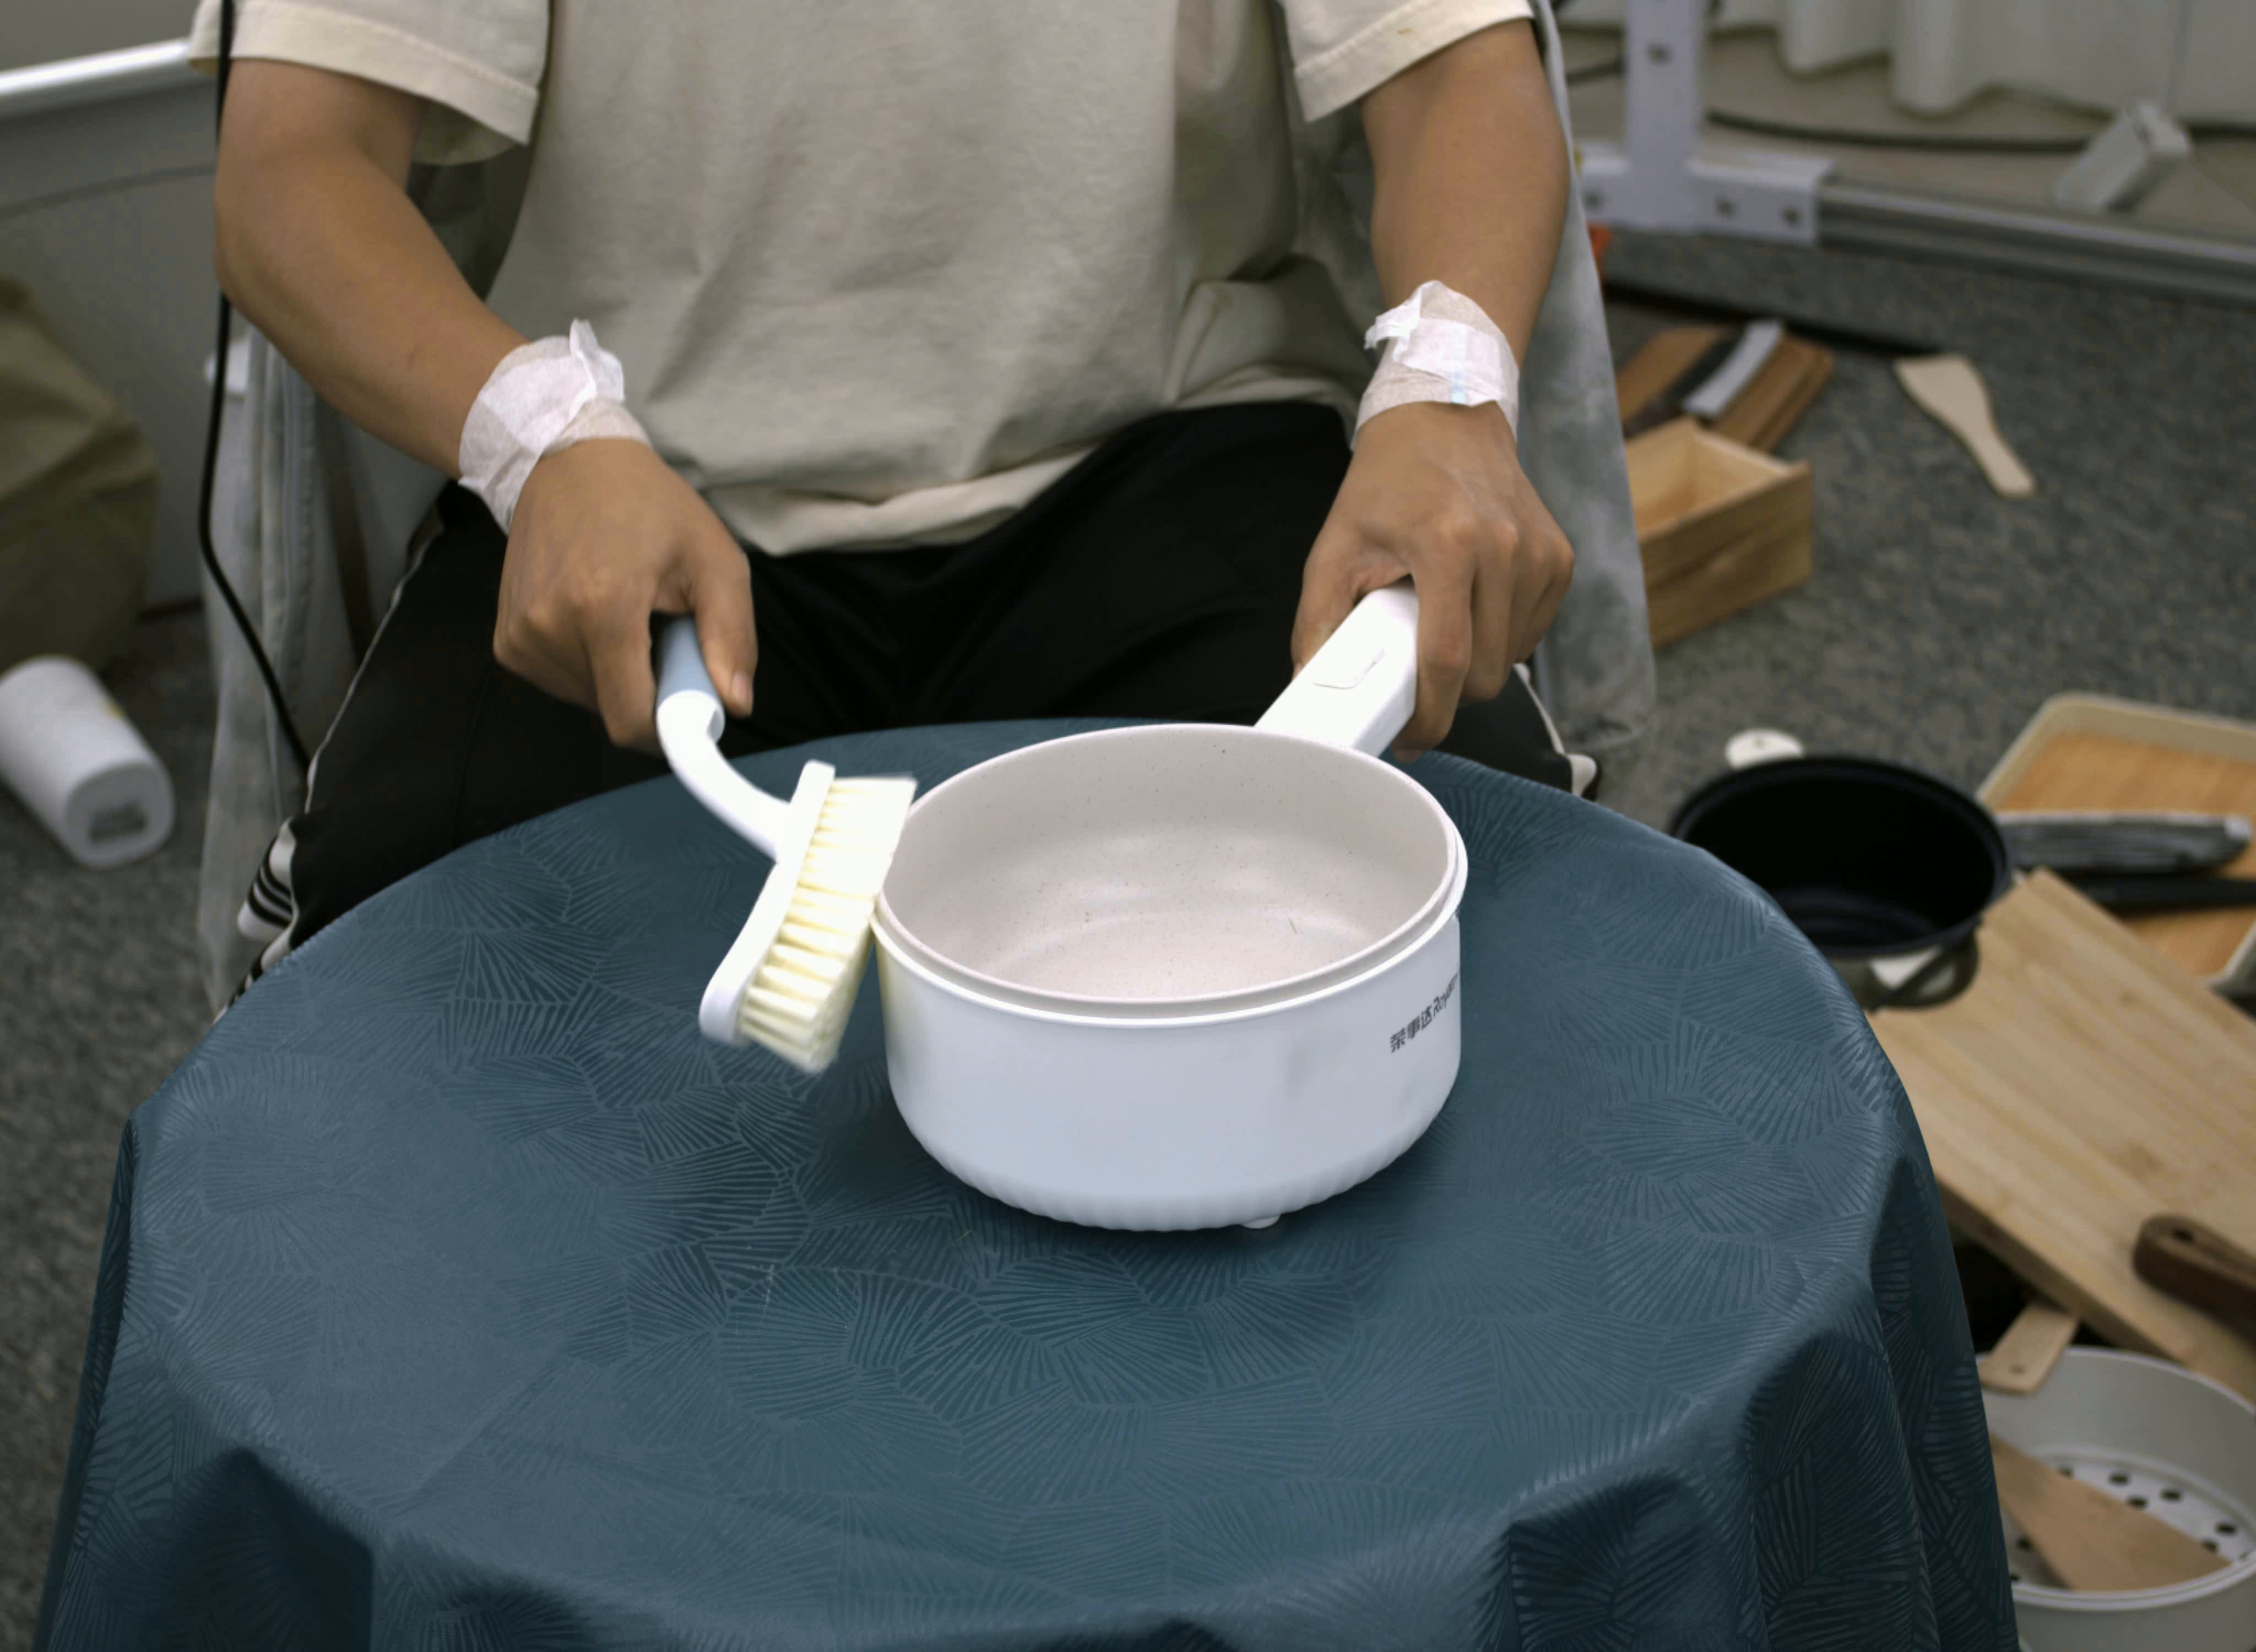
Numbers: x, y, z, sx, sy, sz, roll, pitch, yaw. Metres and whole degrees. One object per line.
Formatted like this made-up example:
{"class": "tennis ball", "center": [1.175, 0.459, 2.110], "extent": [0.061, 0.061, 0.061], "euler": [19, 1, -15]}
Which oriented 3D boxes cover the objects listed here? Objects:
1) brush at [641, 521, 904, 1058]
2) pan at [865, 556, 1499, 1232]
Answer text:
{"class": "brush", "center": [-0.115, -0.022, 1.955], "extent": [0.082, 0.084, 0.330], "euler": [-36, 27, 15]}
{"class": "pan", "center": [0.046, 0.021, 1.944], "extent": [0.200, 0.101, 0.361], "euler": [9, 29, 22]}
